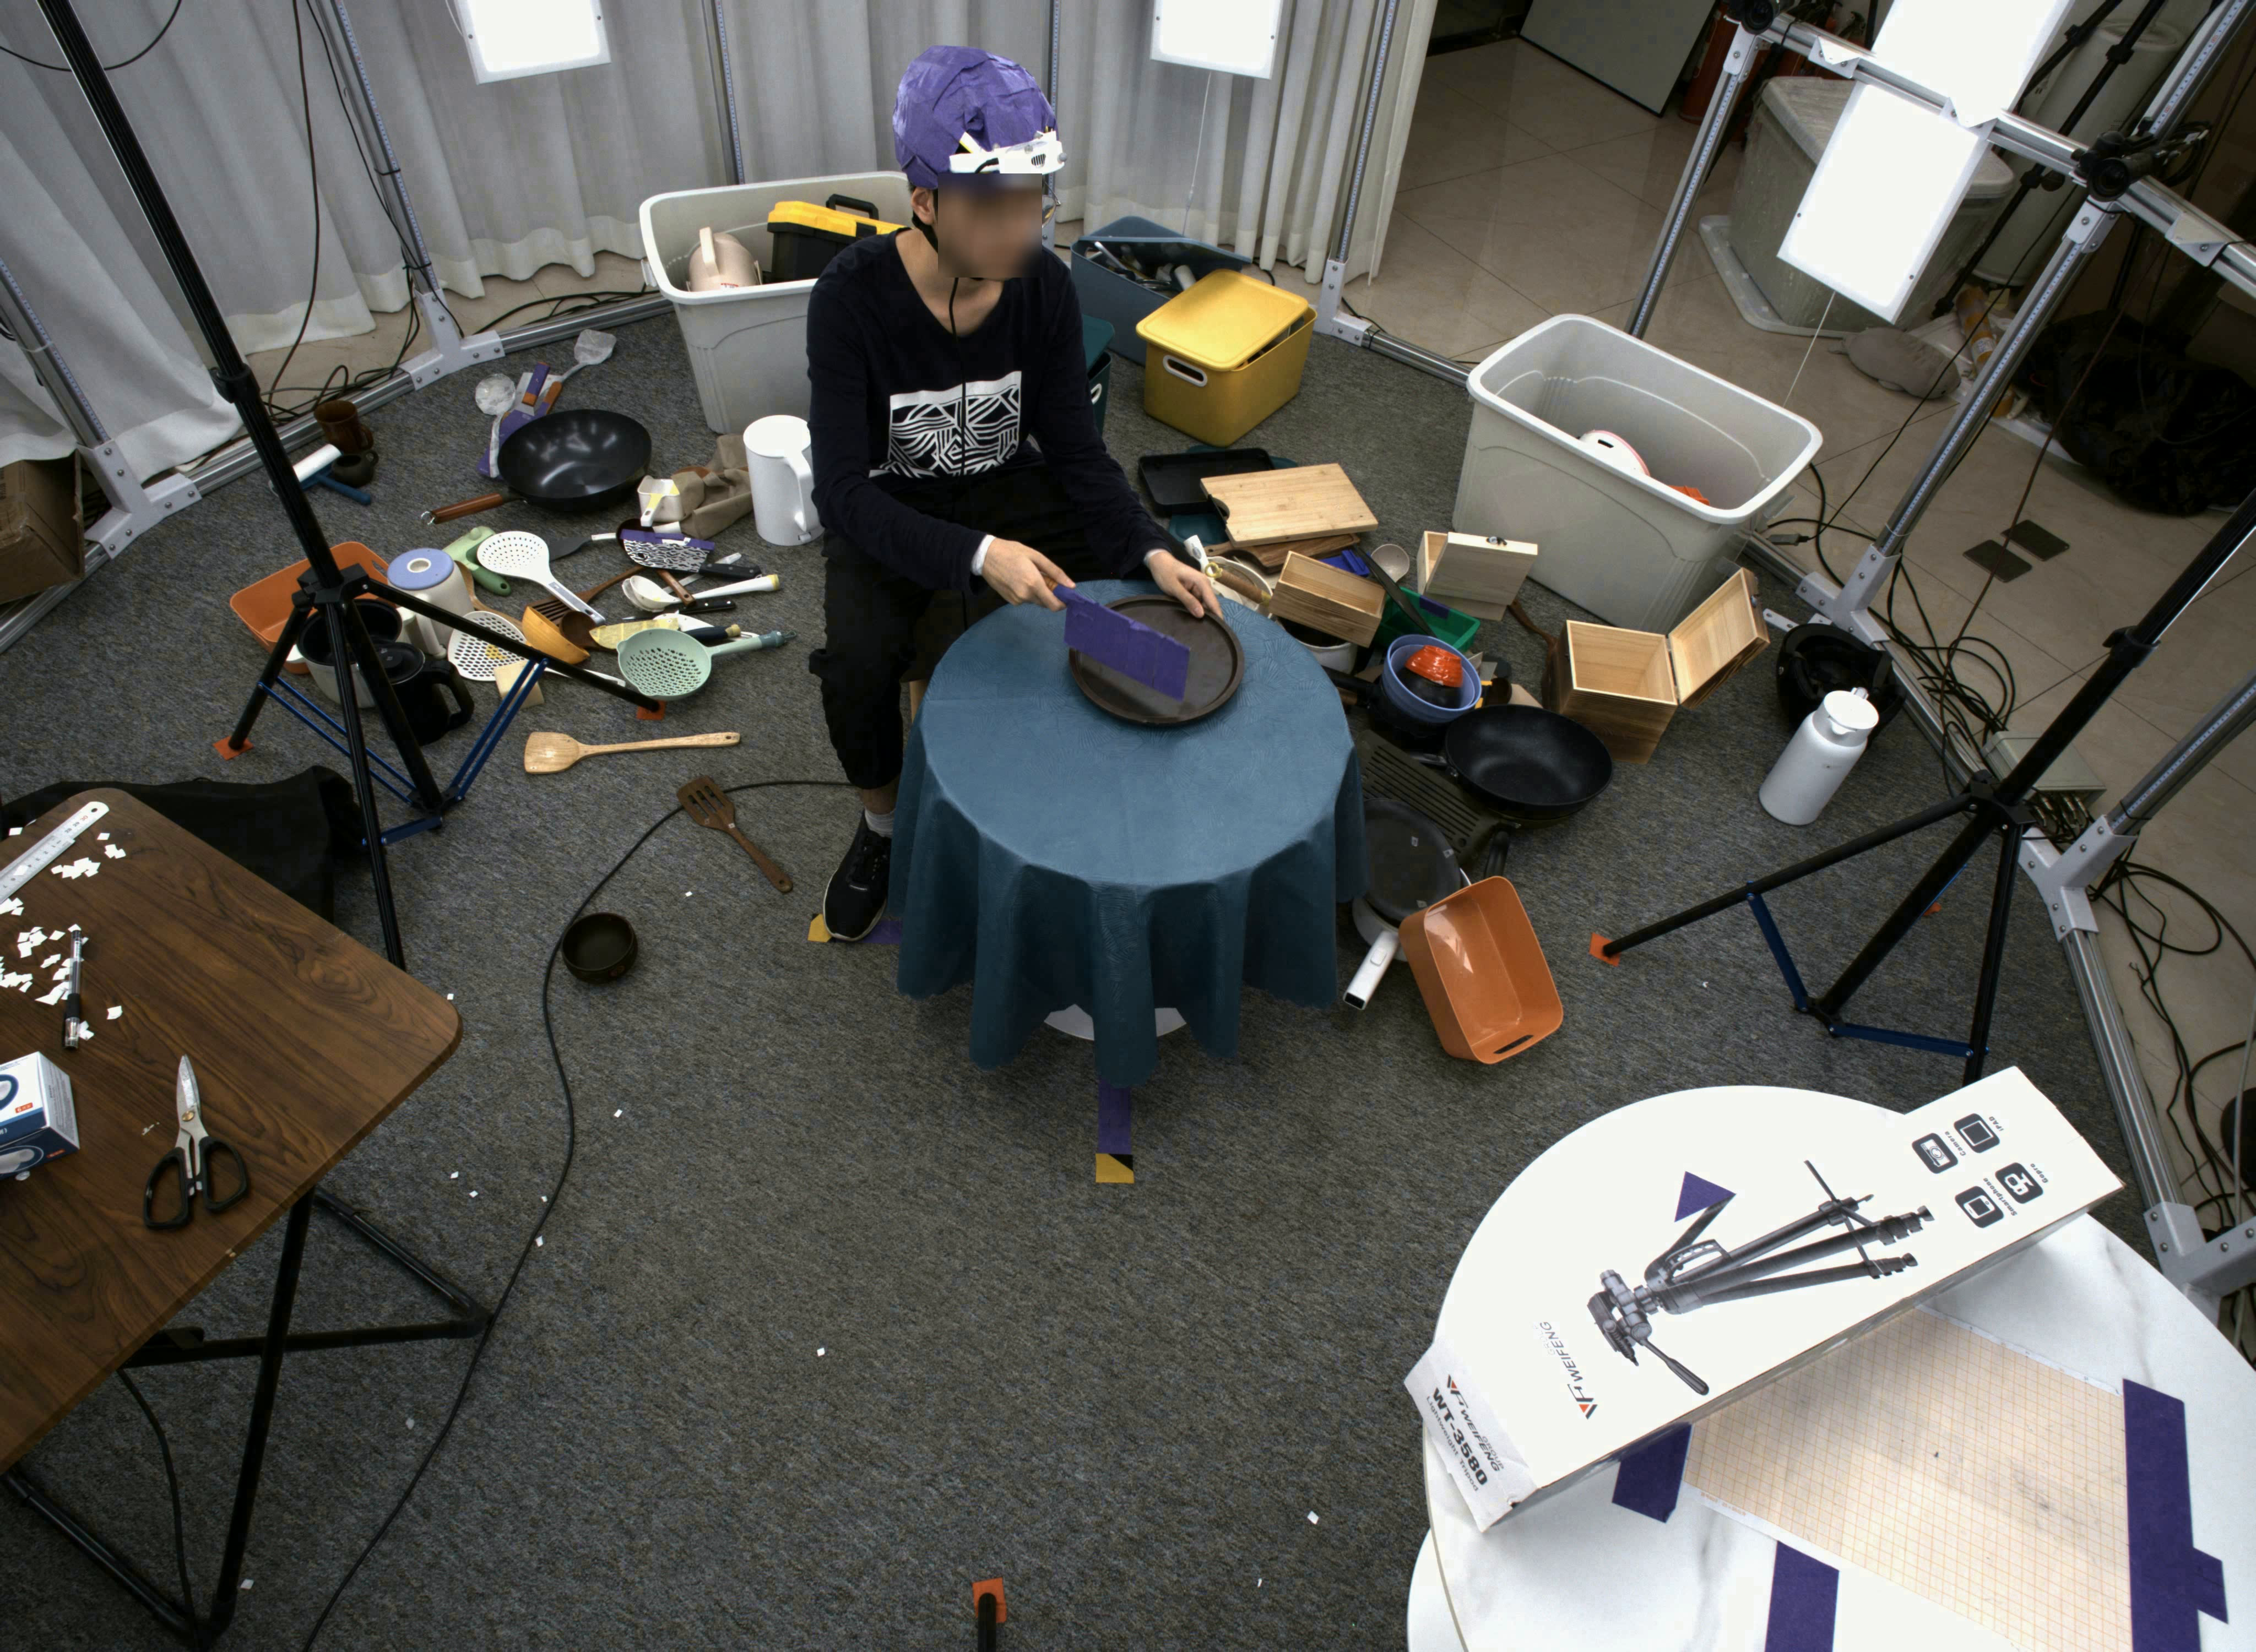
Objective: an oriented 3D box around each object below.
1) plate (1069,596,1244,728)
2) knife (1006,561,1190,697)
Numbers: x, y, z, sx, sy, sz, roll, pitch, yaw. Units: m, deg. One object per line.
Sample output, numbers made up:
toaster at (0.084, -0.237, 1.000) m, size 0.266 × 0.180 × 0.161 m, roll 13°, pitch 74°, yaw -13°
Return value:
plate at (0.041, -0.239, 1.853) m, size 0.254 × 0.028 × 0.261 m, roll 1°, pitch 53°, yaw -2°
knife at (-0.047, -0.272, 1.800) m, size 0.319 × 0.101 × 0.032 m, roll 31°, pitch 44°, yaw 26°
